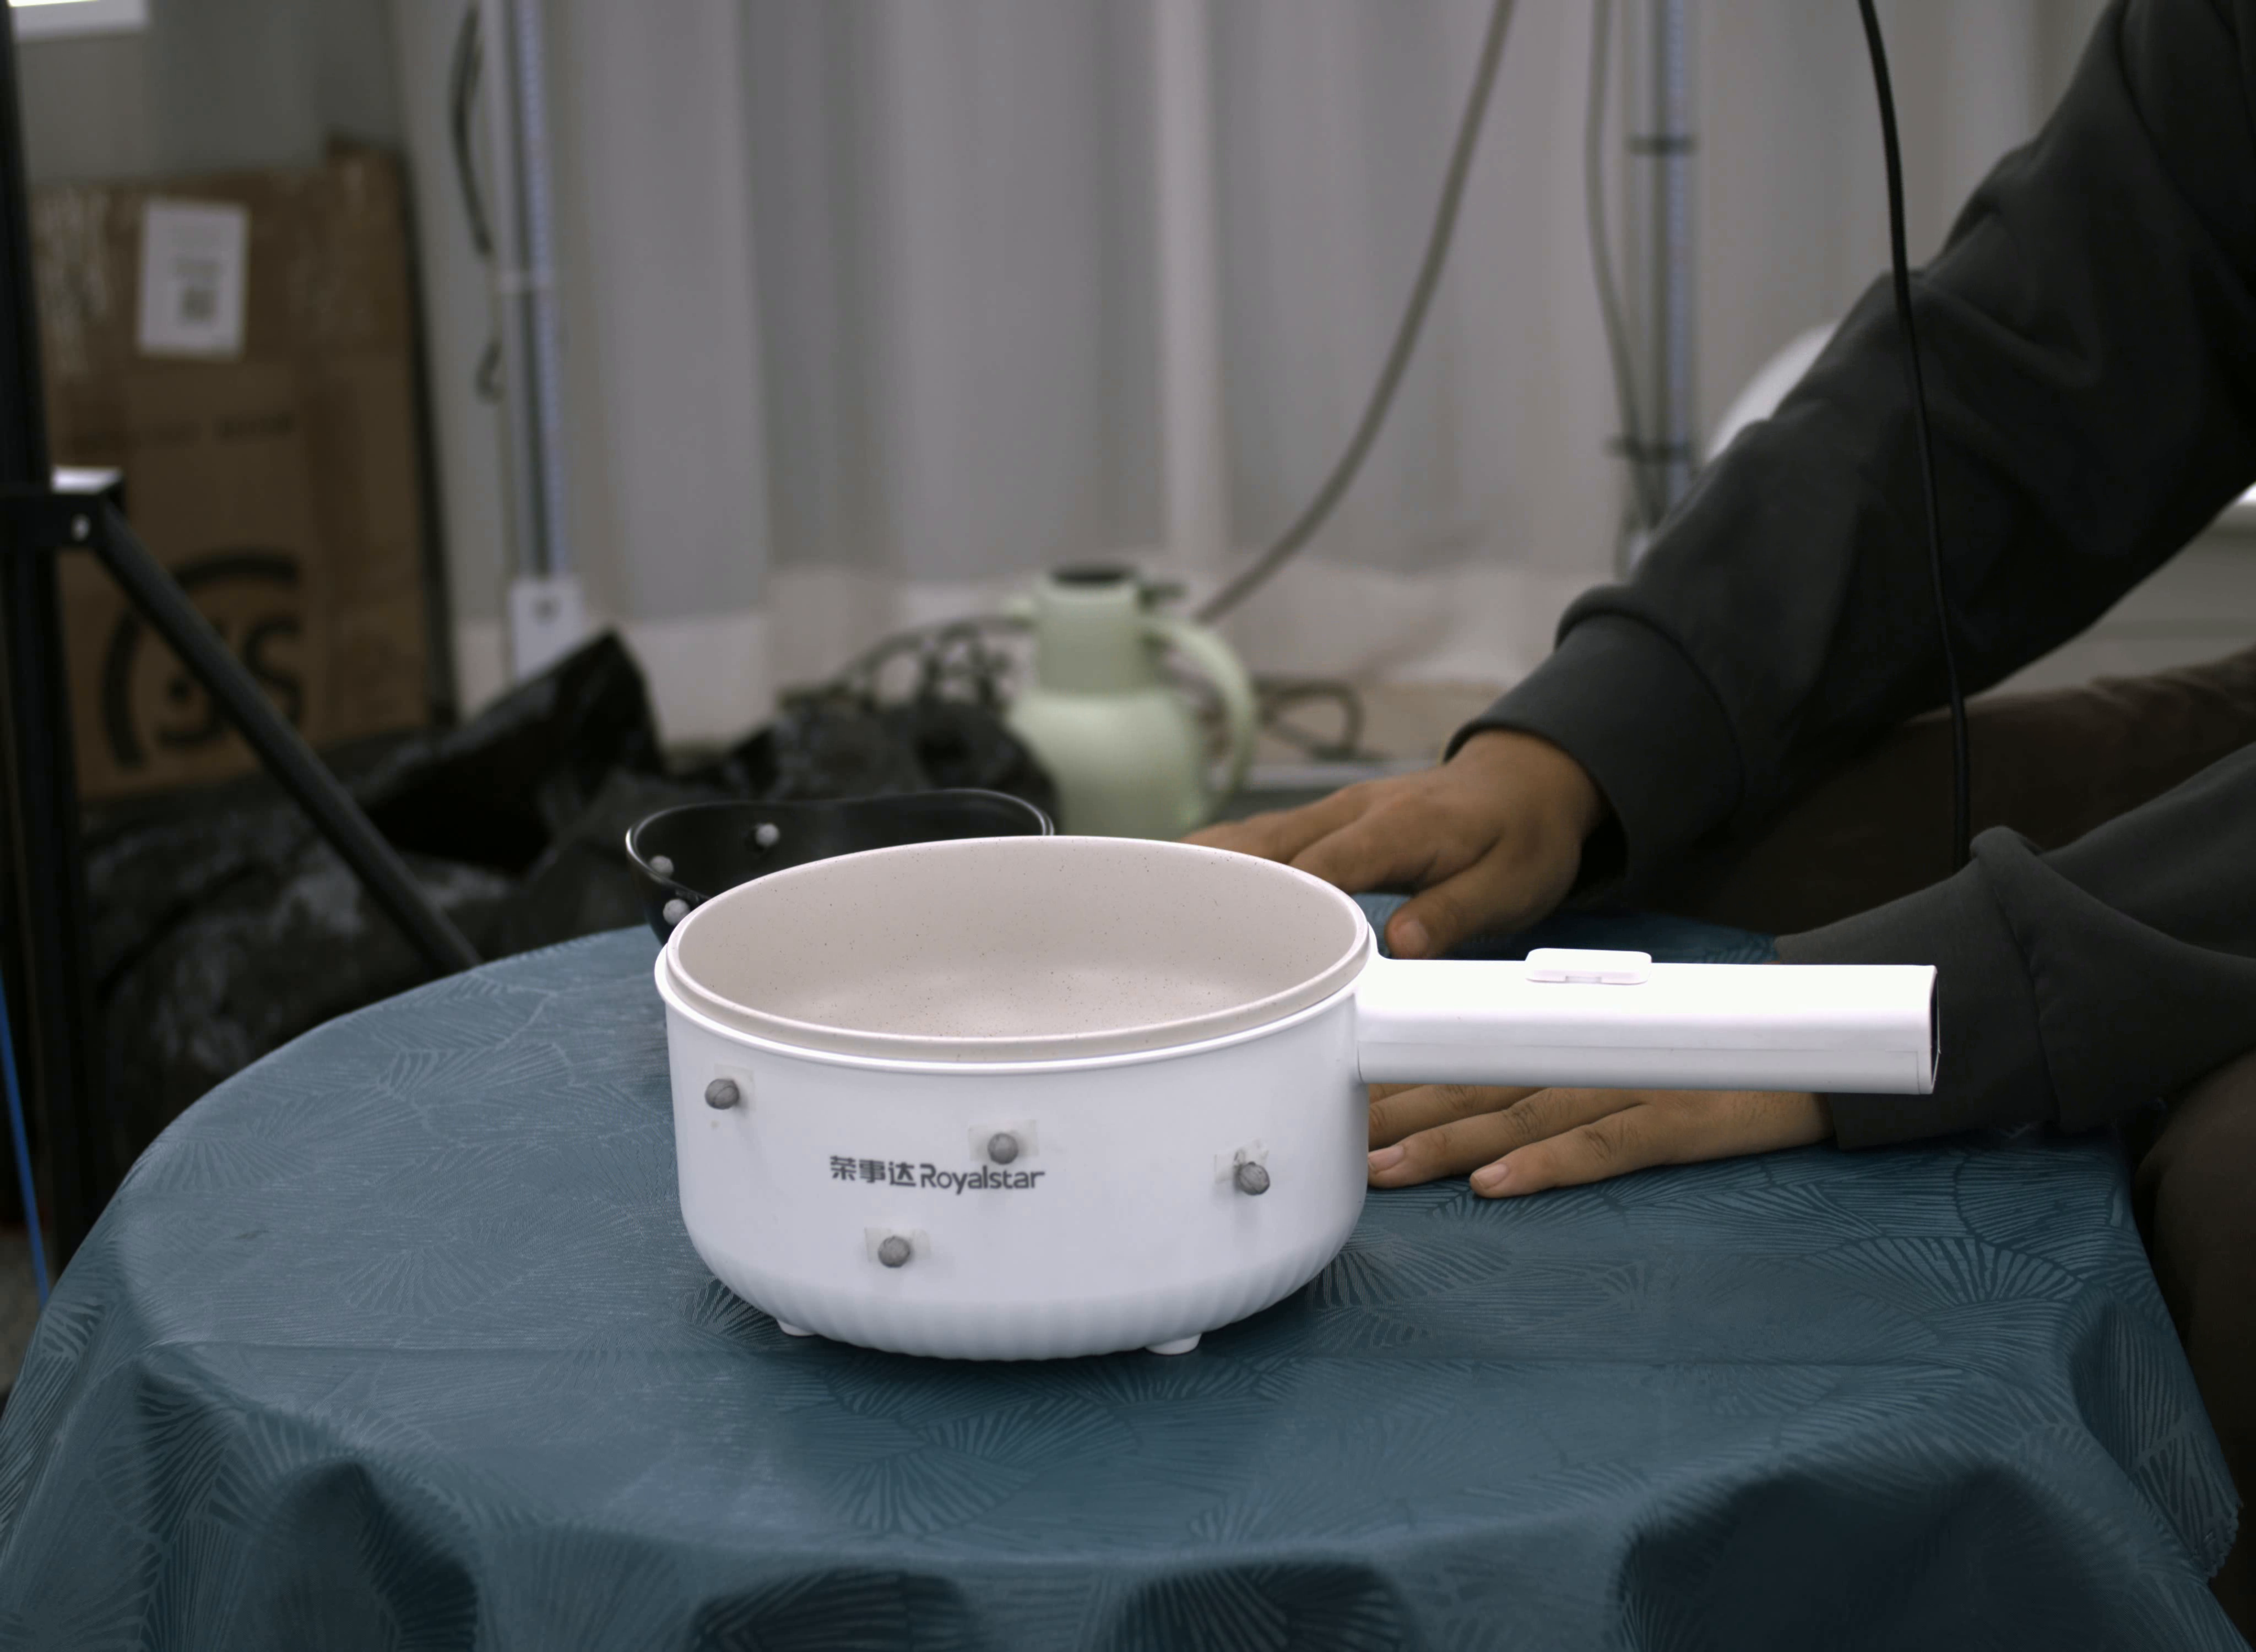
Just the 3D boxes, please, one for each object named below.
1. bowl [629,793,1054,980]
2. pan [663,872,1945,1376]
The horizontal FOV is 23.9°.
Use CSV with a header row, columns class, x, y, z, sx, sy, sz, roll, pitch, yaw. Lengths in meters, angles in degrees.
class,x,y,z,sx,sy,sz,roll,pitch,yaw
bowl,-0.092,0.032,1.722,0.136,0.067,0.172,-4,14,-6
pan,0.046,0.089,1.467,0.357,0.102,0.200,3,13,12
